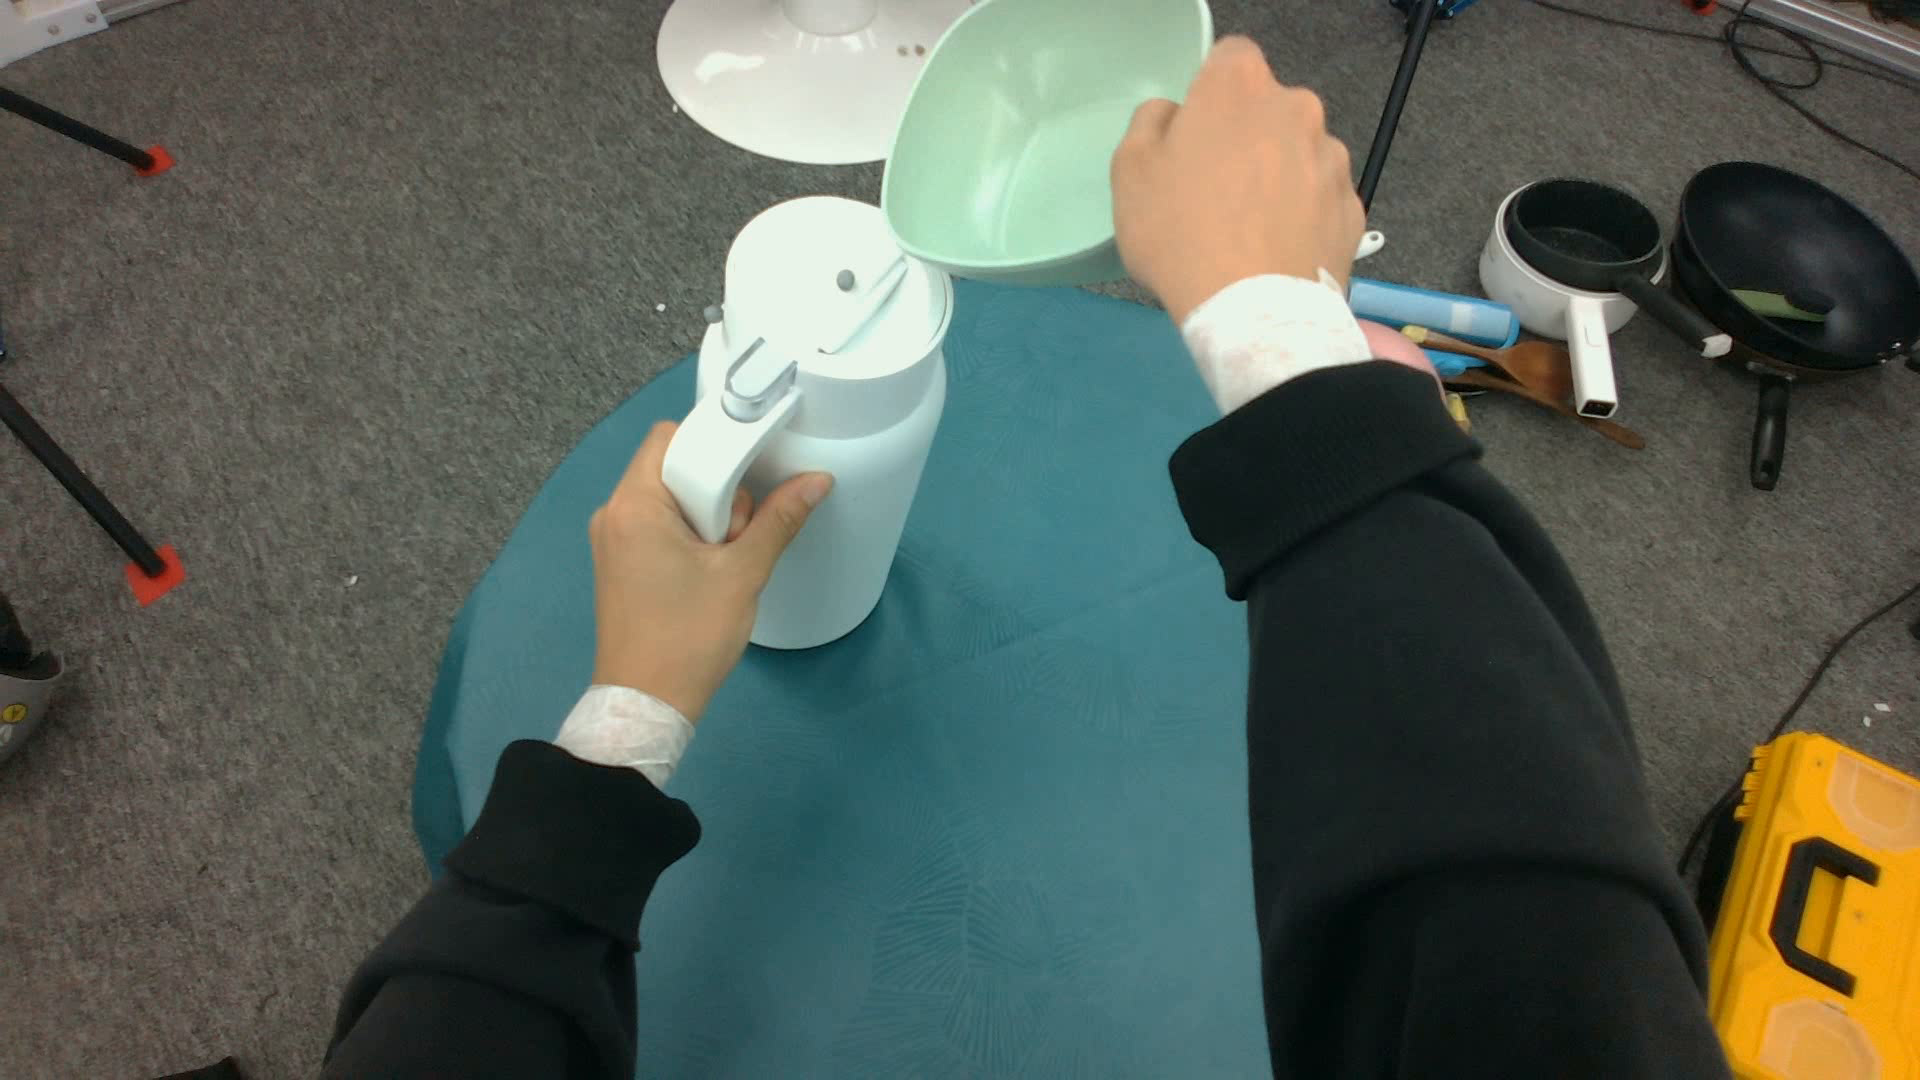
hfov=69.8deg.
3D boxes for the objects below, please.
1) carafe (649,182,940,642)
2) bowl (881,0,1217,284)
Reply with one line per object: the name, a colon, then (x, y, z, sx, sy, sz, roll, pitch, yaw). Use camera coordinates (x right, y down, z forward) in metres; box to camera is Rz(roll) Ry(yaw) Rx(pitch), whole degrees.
carafe: (-0.091, -0.040, 0.693, 0.124, 0.267, 0.173, 33, 59, 4)
bowl: (0.044, -0.159, 0.574, 0.151, 0.058, 0.152, -10, 63, 21)
